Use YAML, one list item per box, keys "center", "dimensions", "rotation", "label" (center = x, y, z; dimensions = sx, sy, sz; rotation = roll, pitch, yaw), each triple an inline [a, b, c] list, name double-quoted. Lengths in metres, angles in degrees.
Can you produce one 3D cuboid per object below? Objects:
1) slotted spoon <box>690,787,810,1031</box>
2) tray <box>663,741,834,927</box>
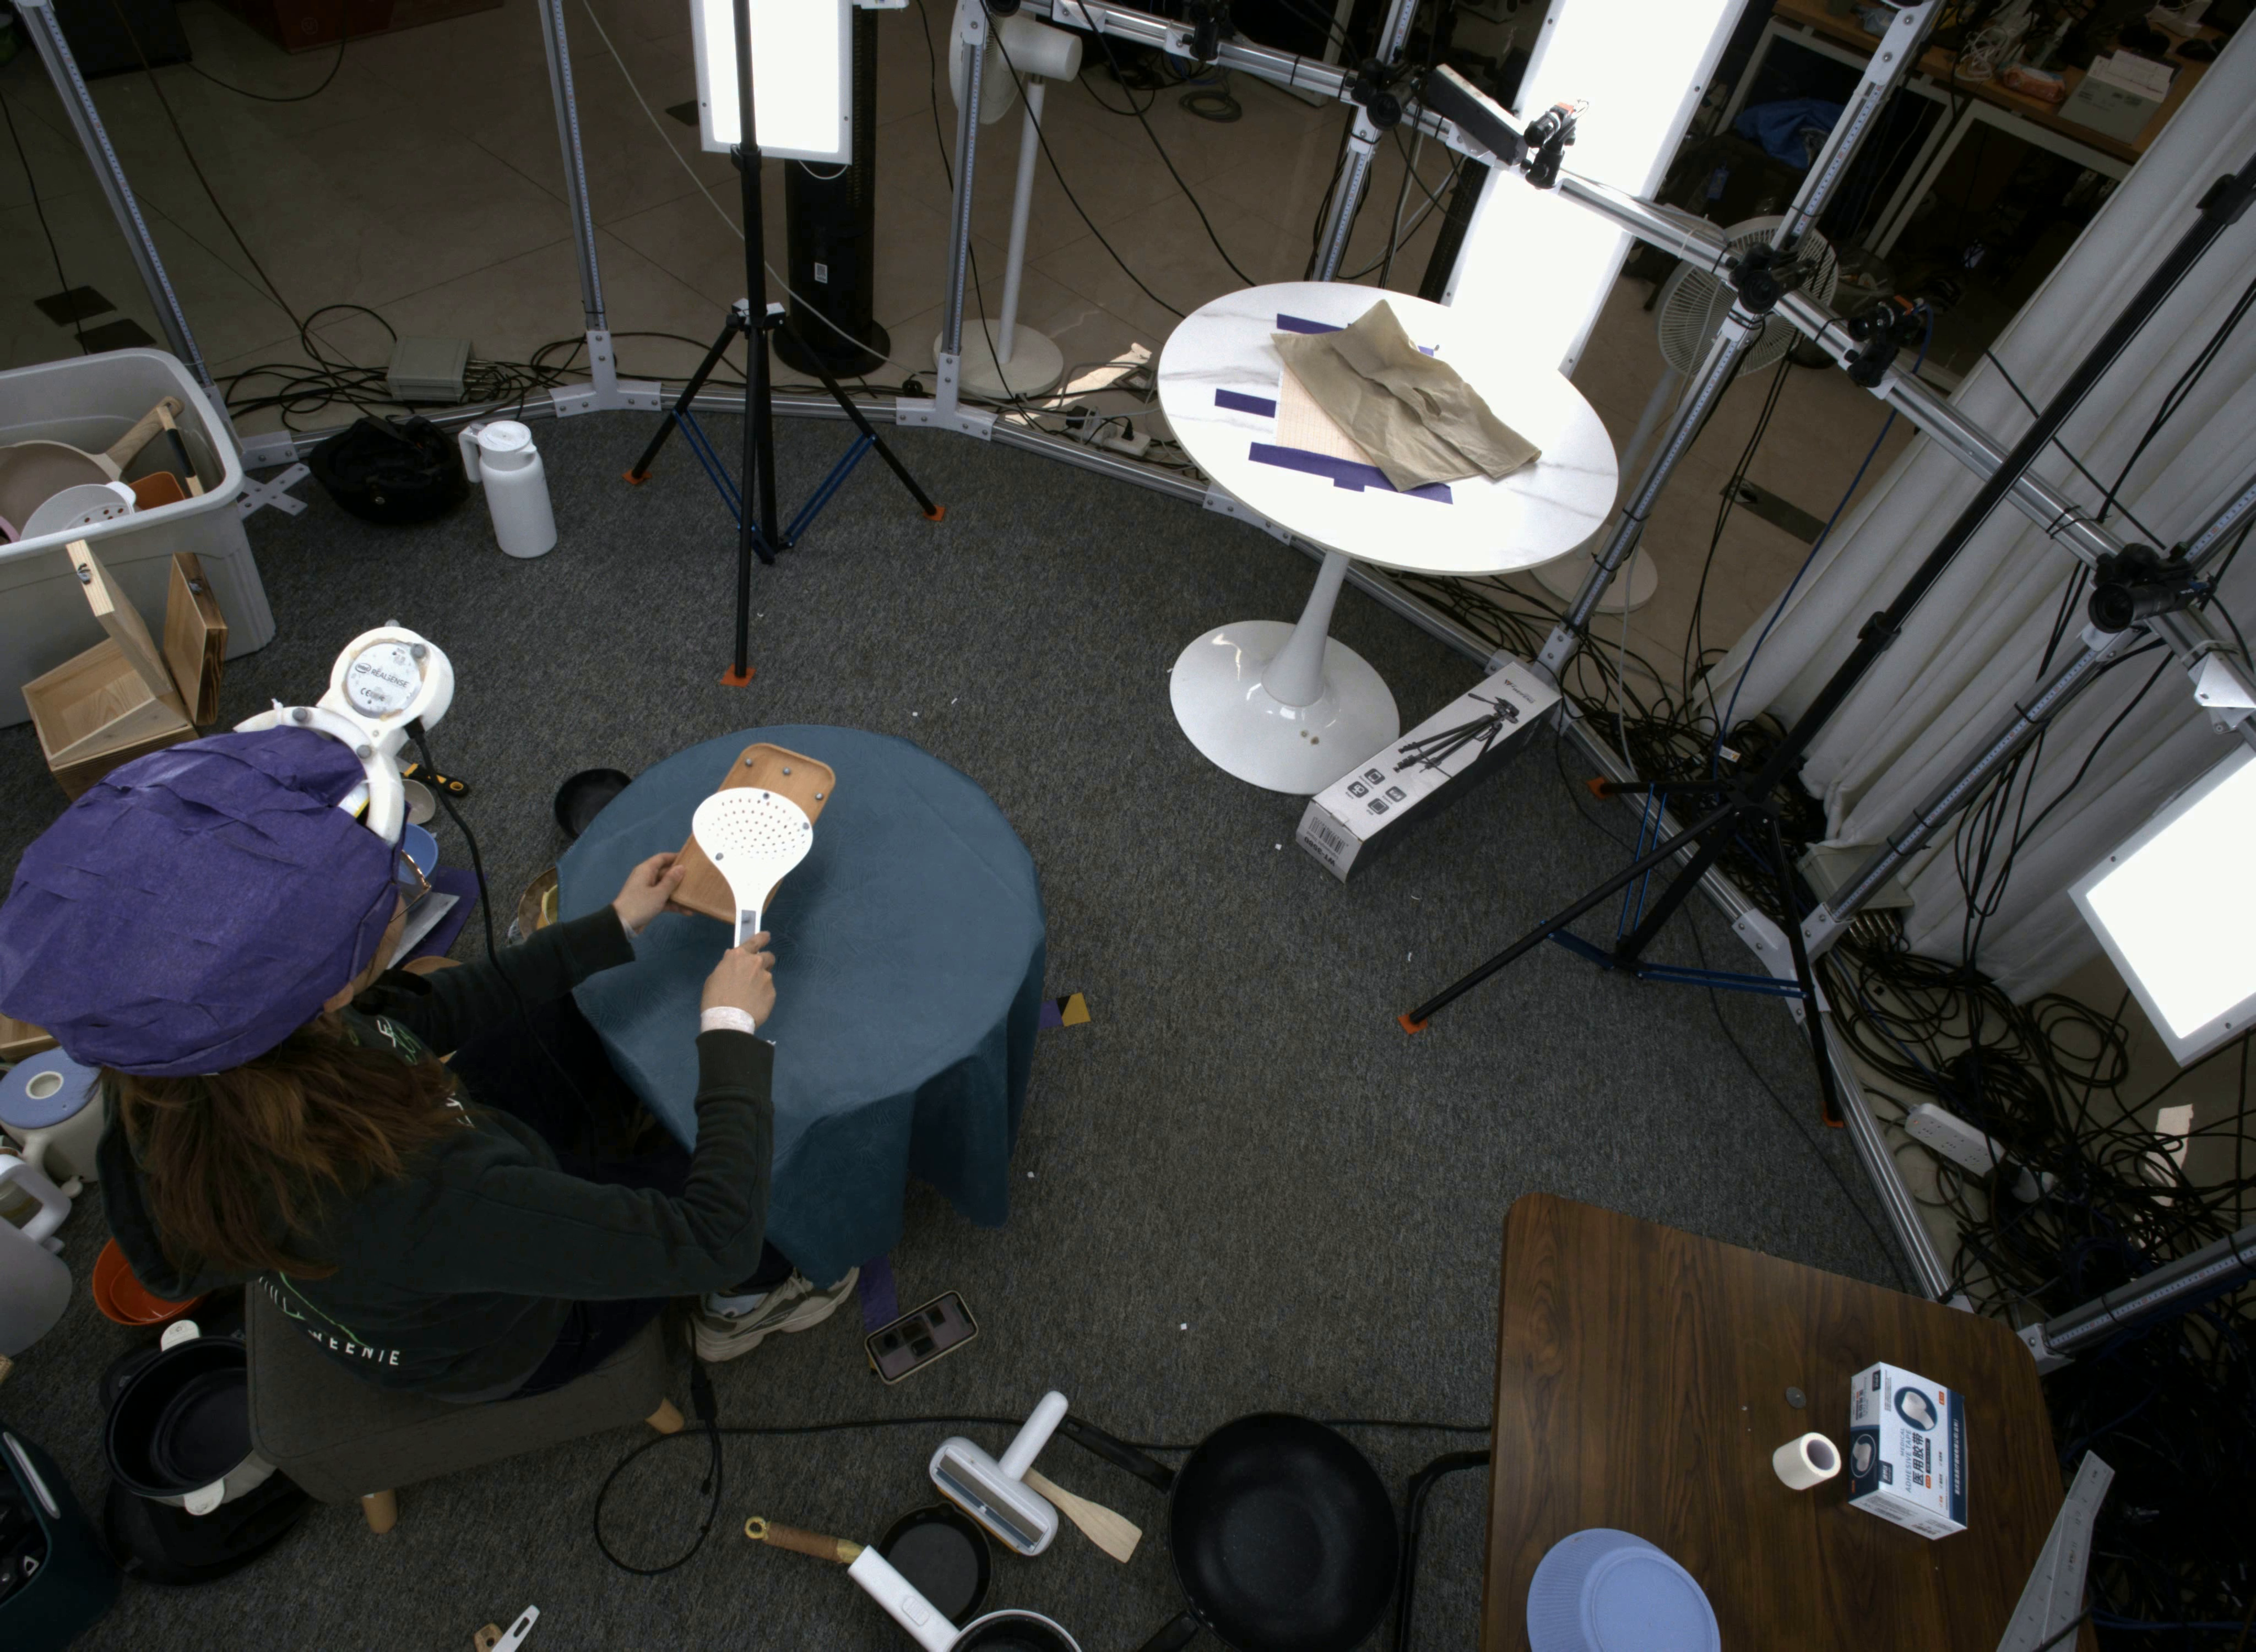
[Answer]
- center: [-0.422, 0.081, 1.428]
  dimensions: [0.137, 0.046, 0.340]
  rotation: [7, 39, -19]
  label: "slotted spoon"
- center: [-0.460, 0.006, 1.577]
  dimensions: [0.129, 0.023, 0.249]
  rotation: [20, 58, 2]
  label: "tray"
